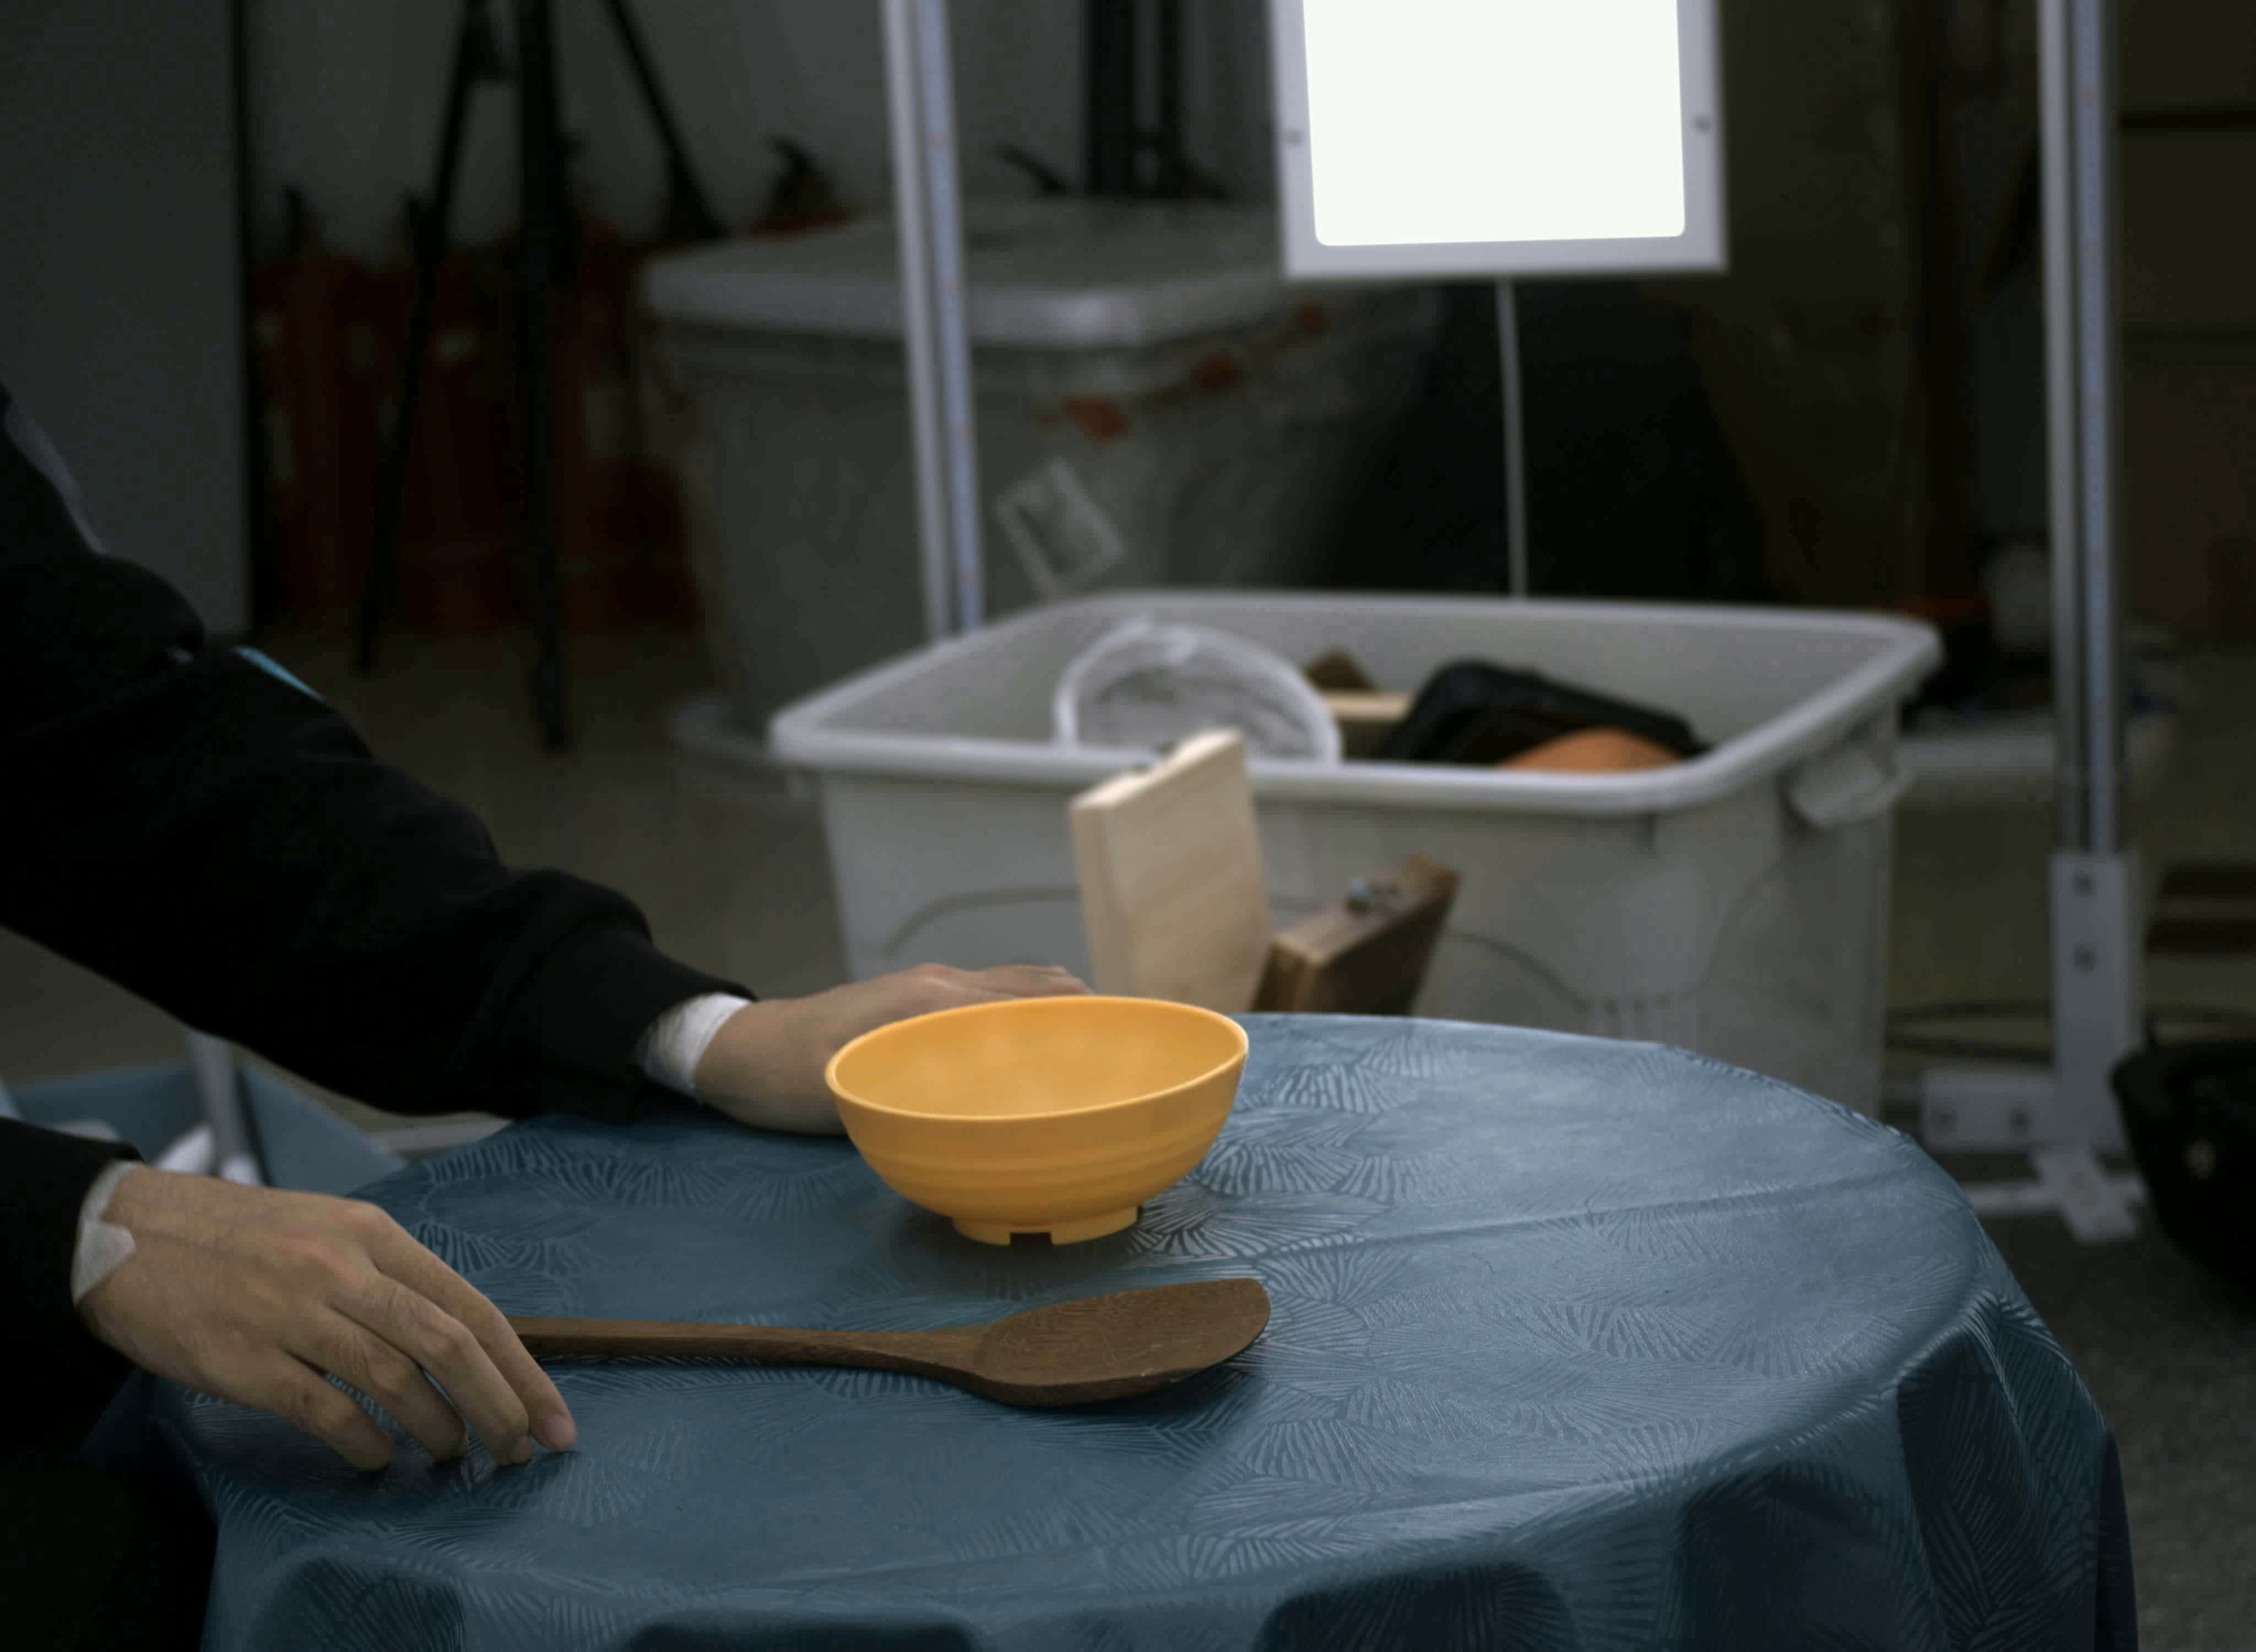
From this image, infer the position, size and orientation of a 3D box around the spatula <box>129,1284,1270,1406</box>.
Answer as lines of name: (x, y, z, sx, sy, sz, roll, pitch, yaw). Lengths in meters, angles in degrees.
spatula: (-0.143, 0.164, 1.766, 0.390, 0.016, 0.094, -1, 14, 18)

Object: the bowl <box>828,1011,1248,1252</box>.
bowl: (-0.028, 0.107, 1.871, 0.145, 0.060, 0.145, -6, 11, 0)
